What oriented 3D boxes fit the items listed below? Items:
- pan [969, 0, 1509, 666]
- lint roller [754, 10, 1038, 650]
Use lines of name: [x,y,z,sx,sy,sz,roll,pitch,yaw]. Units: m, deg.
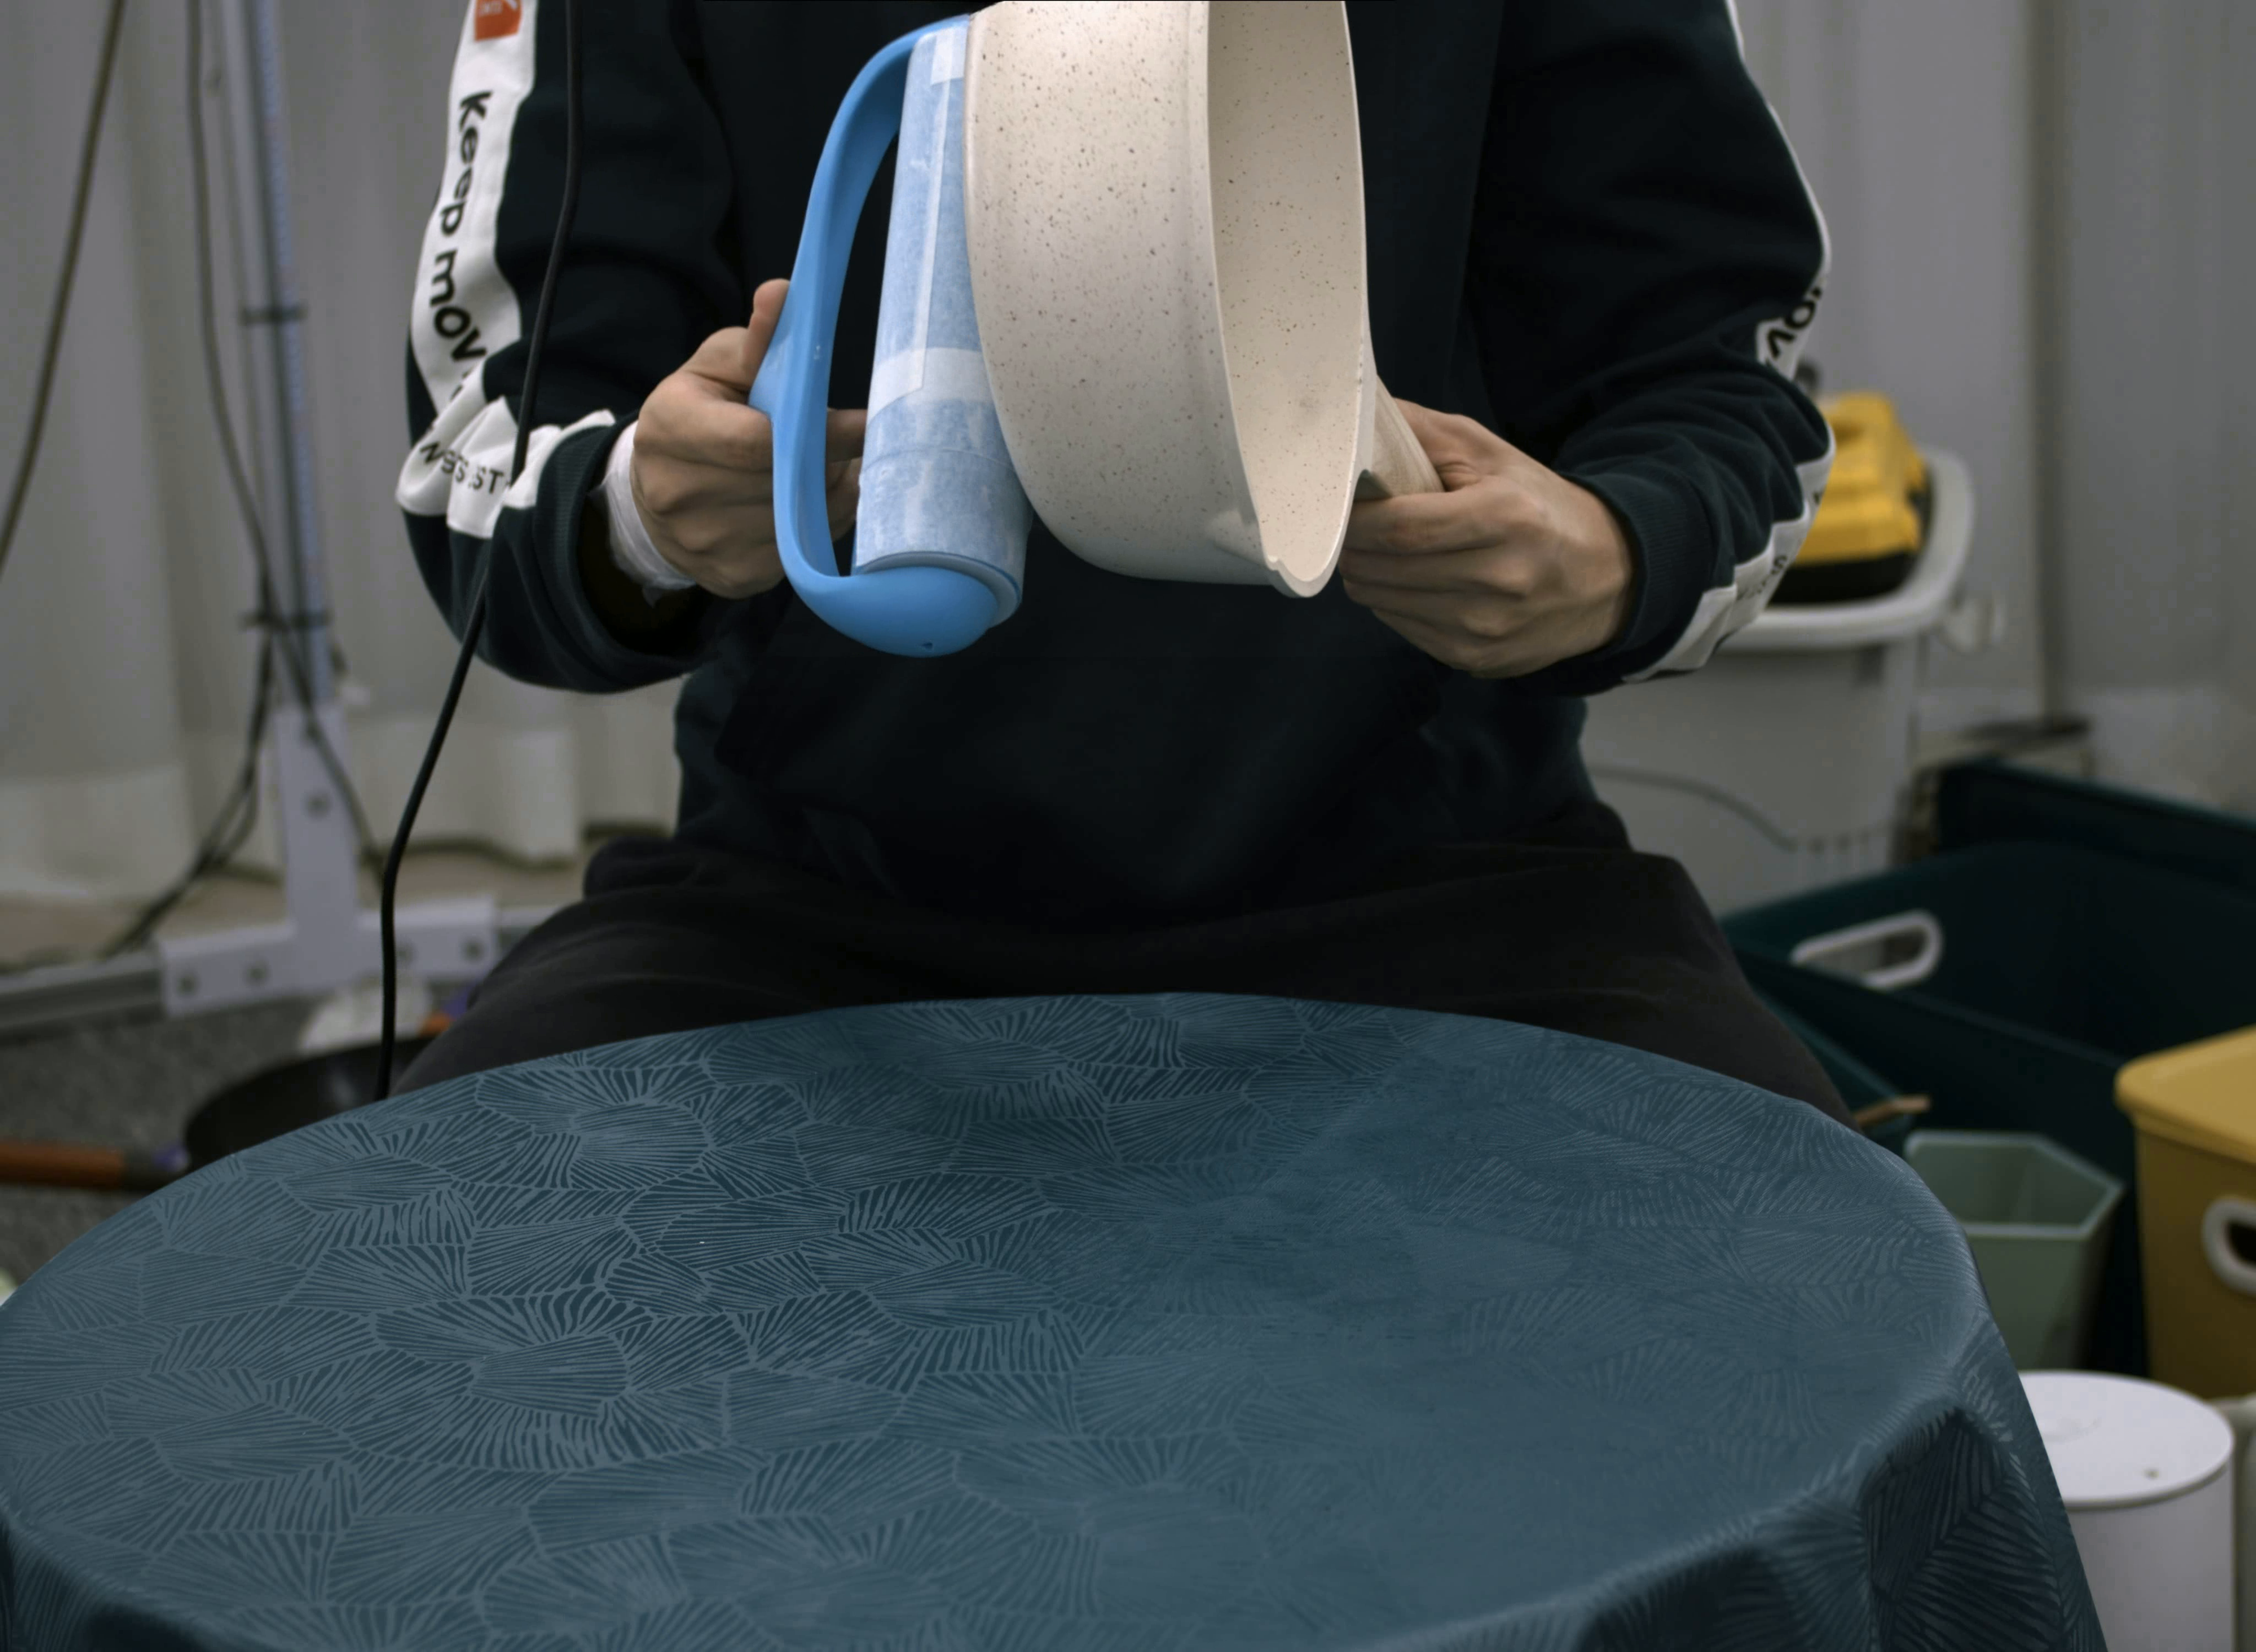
pan: [0.039,-0.152,1.775,0.102,0.267,0.429,-4,-26,12]
lint roller: [-0.085,-0.136,1.764,0.067,0.232,0.179,20,-34,-29]
